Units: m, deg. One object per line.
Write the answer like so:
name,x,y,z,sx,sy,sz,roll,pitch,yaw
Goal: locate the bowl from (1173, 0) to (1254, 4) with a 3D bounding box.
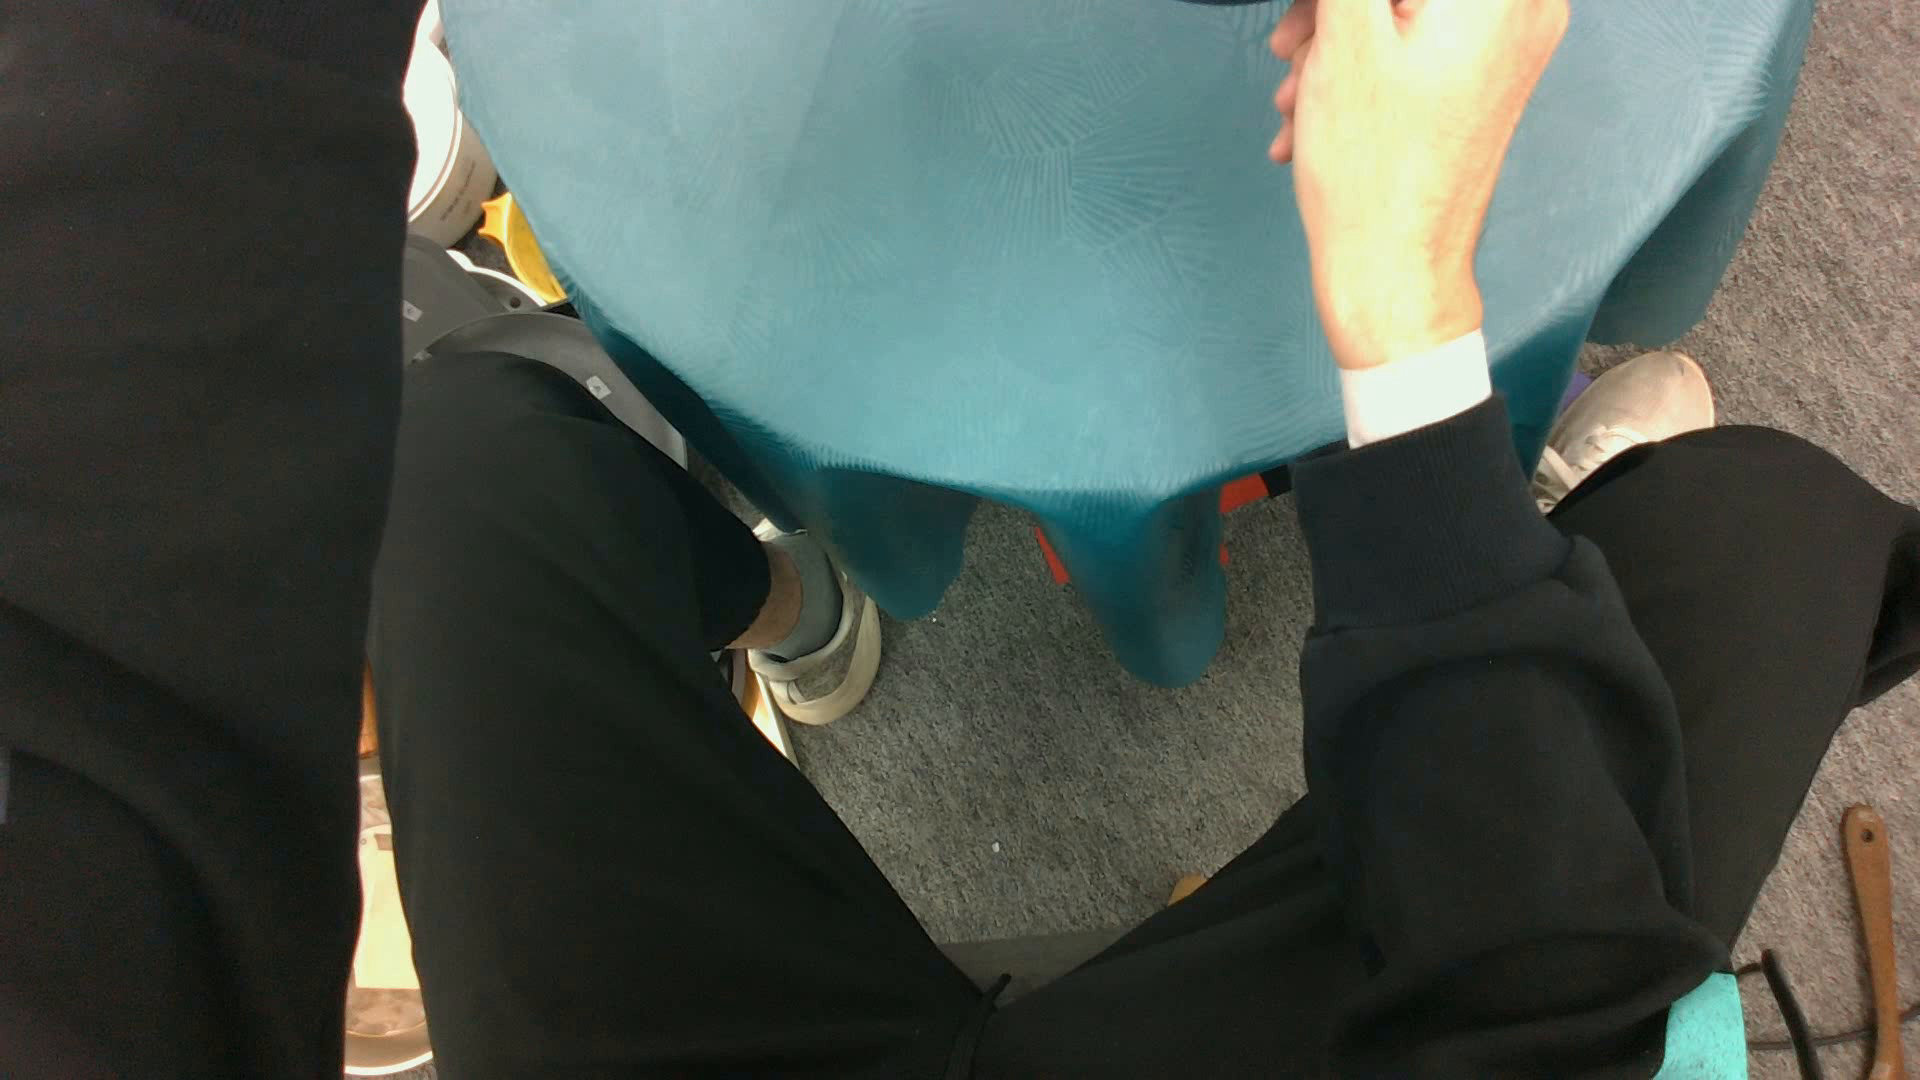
bowl,0.091,-0.238,0.460,0.140,0.050,0.140,-2,81,13
